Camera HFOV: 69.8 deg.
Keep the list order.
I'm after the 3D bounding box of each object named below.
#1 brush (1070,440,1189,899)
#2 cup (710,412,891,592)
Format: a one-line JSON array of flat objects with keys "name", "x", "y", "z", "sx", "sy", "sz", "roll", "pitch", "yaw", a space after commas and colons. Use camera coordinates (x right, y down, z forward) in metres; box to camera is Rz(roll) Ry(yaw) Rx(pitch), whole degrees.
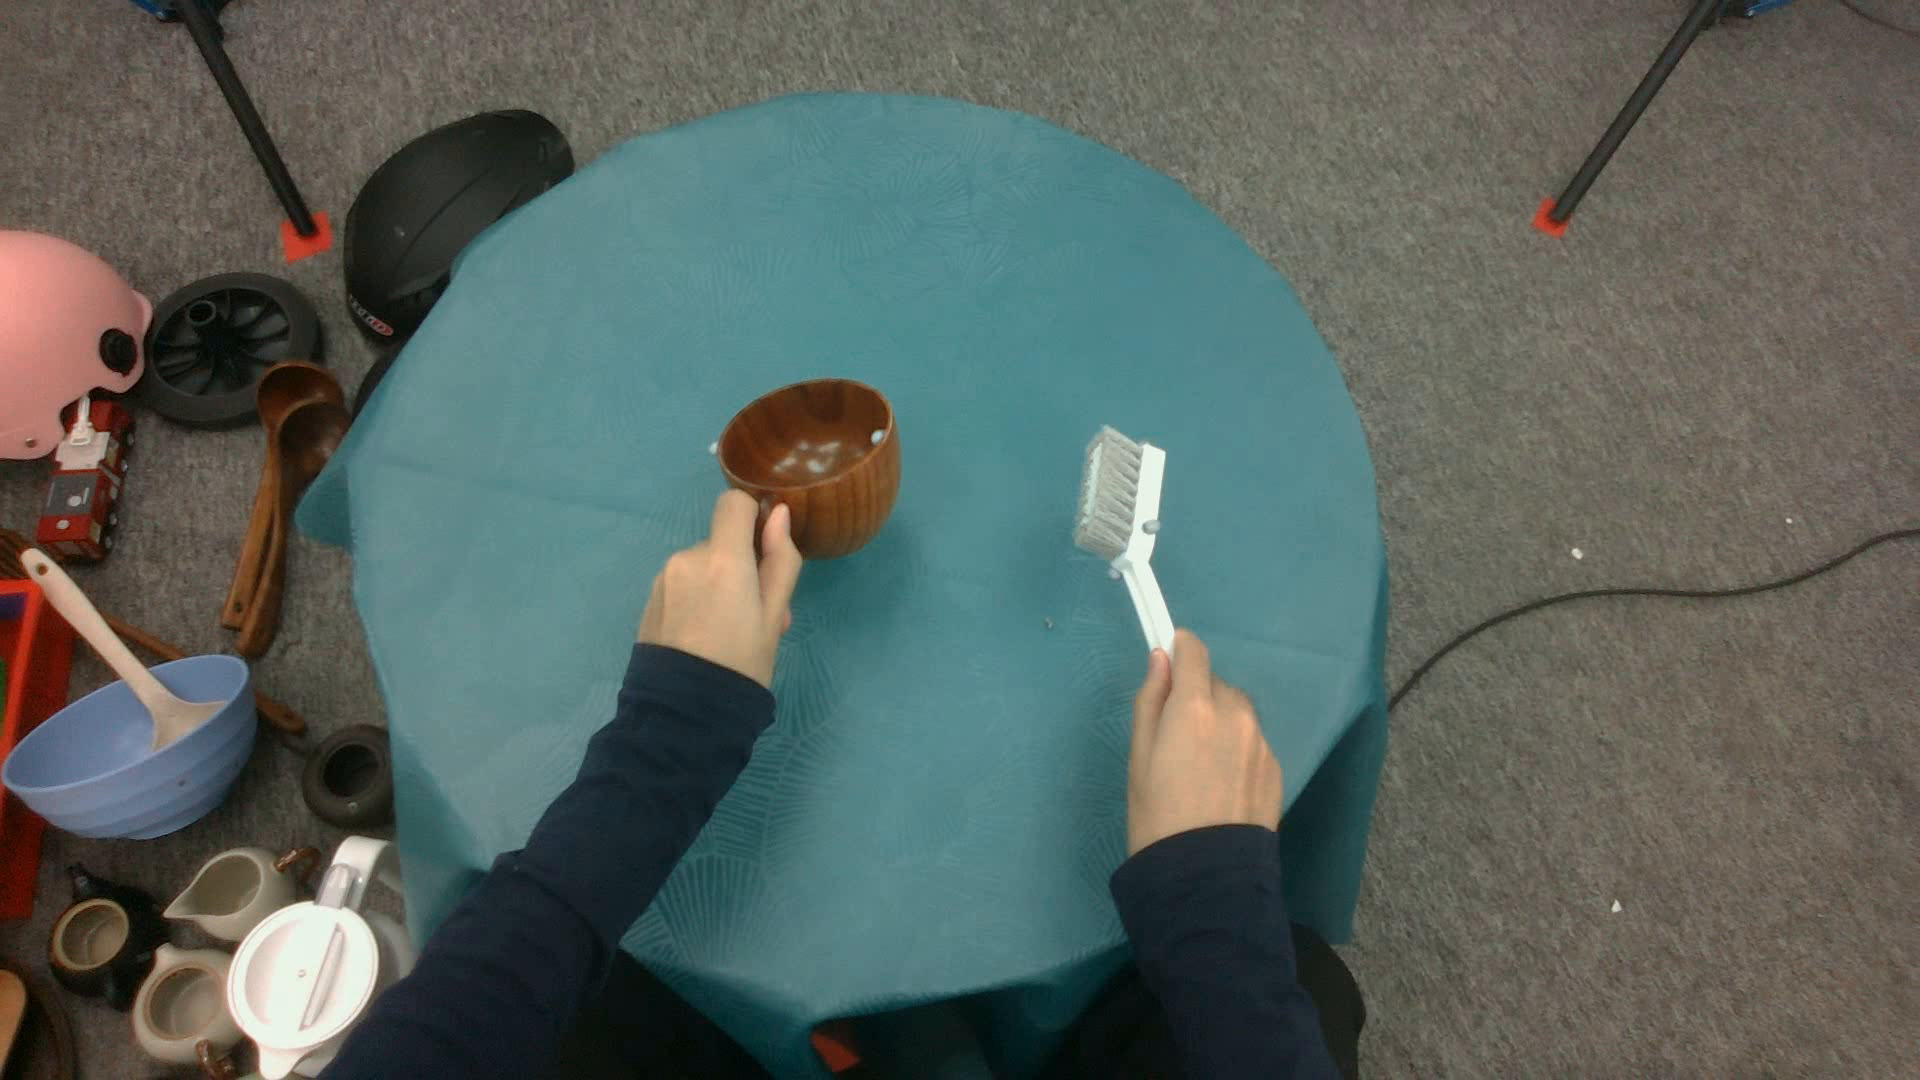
[{"name": "brush", "x": 0.089, "y": 0.066, "z": 0.732, "sx": 0.050, "sy": 0.034, "sz": 0.244, "roll": 3, "pitch": 74, "yaw": -22}, {"name": "cup", "x": -0.087, "y": -0.010, "z": 0.746, "sx": 0.096, "sy": 0.067, "sz": 0.120, "roll": 5, "pitch": 39, "yaw": 14}]
